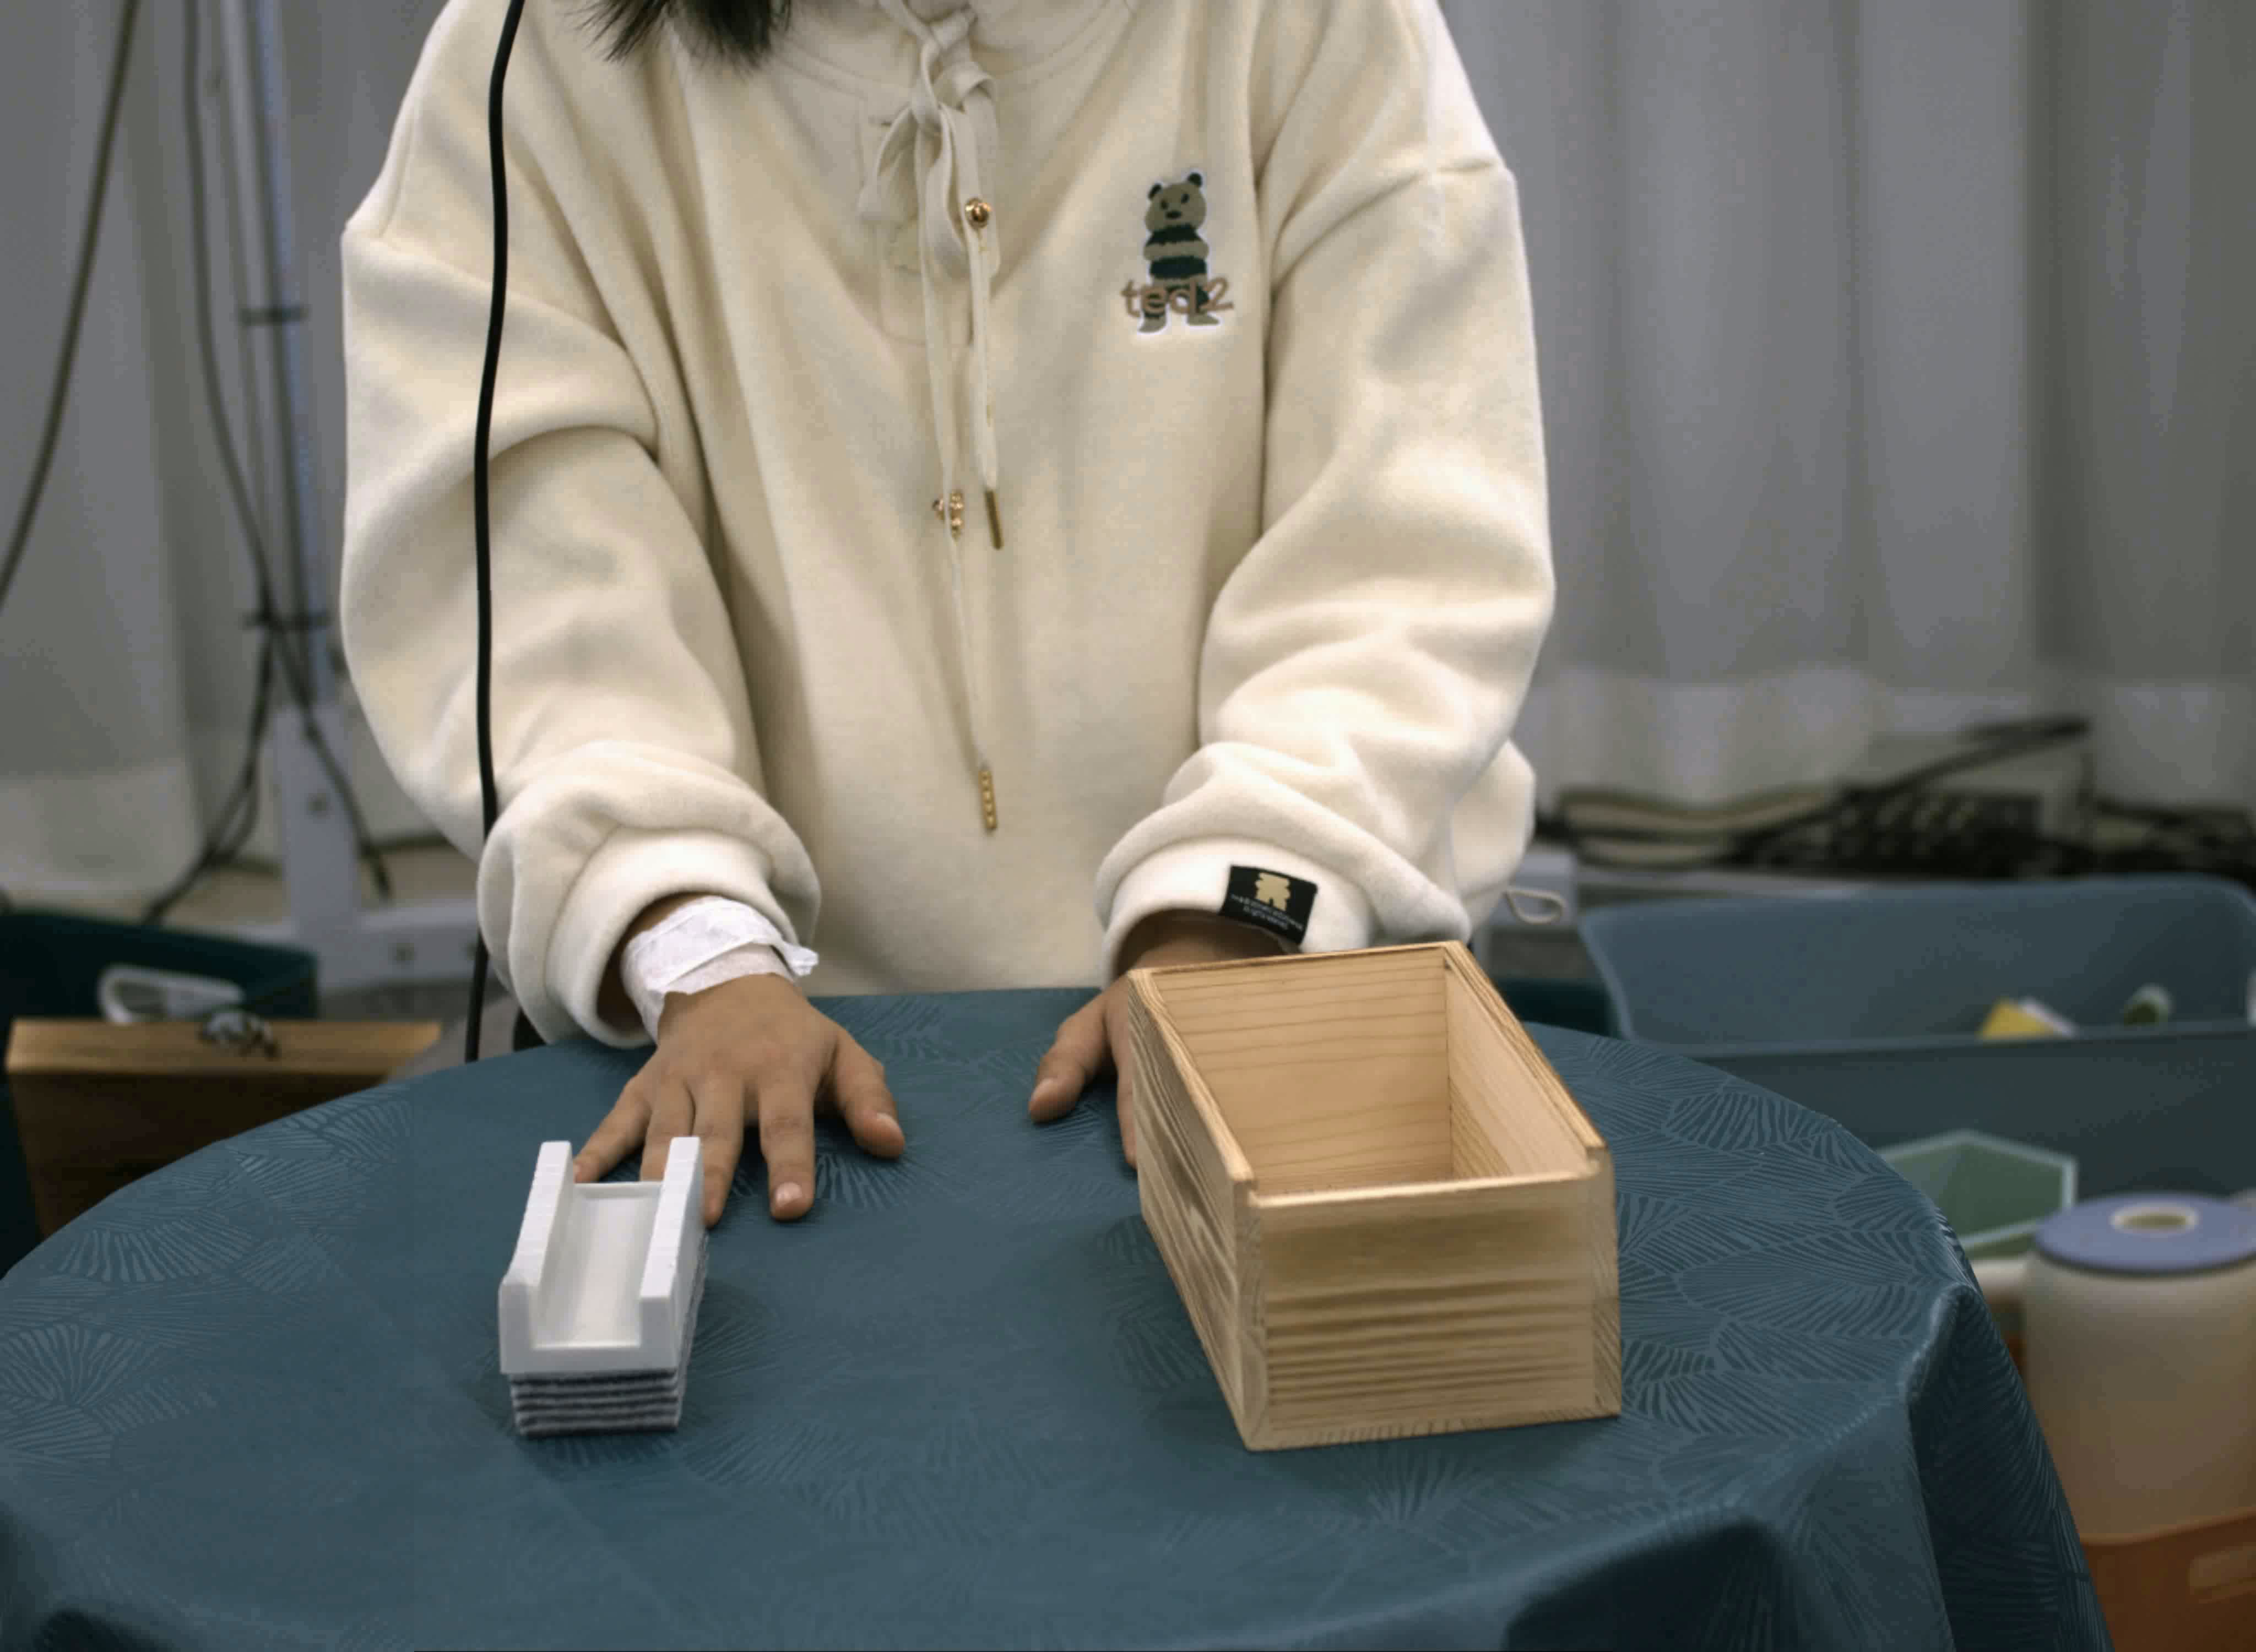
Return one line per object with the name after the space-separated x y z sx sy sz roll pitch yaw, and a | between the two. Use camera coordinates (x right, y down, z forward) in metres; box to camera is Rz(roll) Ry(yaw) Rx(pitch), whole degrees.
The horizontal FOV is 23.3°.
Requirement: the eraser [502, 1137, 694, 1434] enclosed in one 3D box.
-0.152 0.132 1.587 0.049 0.046 0.135 -5 16 -1 | eraser

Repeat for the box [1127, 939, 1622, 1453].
0.068 0.103 1.591 0.107 0.080 0.213 -4 15 -8 | box
